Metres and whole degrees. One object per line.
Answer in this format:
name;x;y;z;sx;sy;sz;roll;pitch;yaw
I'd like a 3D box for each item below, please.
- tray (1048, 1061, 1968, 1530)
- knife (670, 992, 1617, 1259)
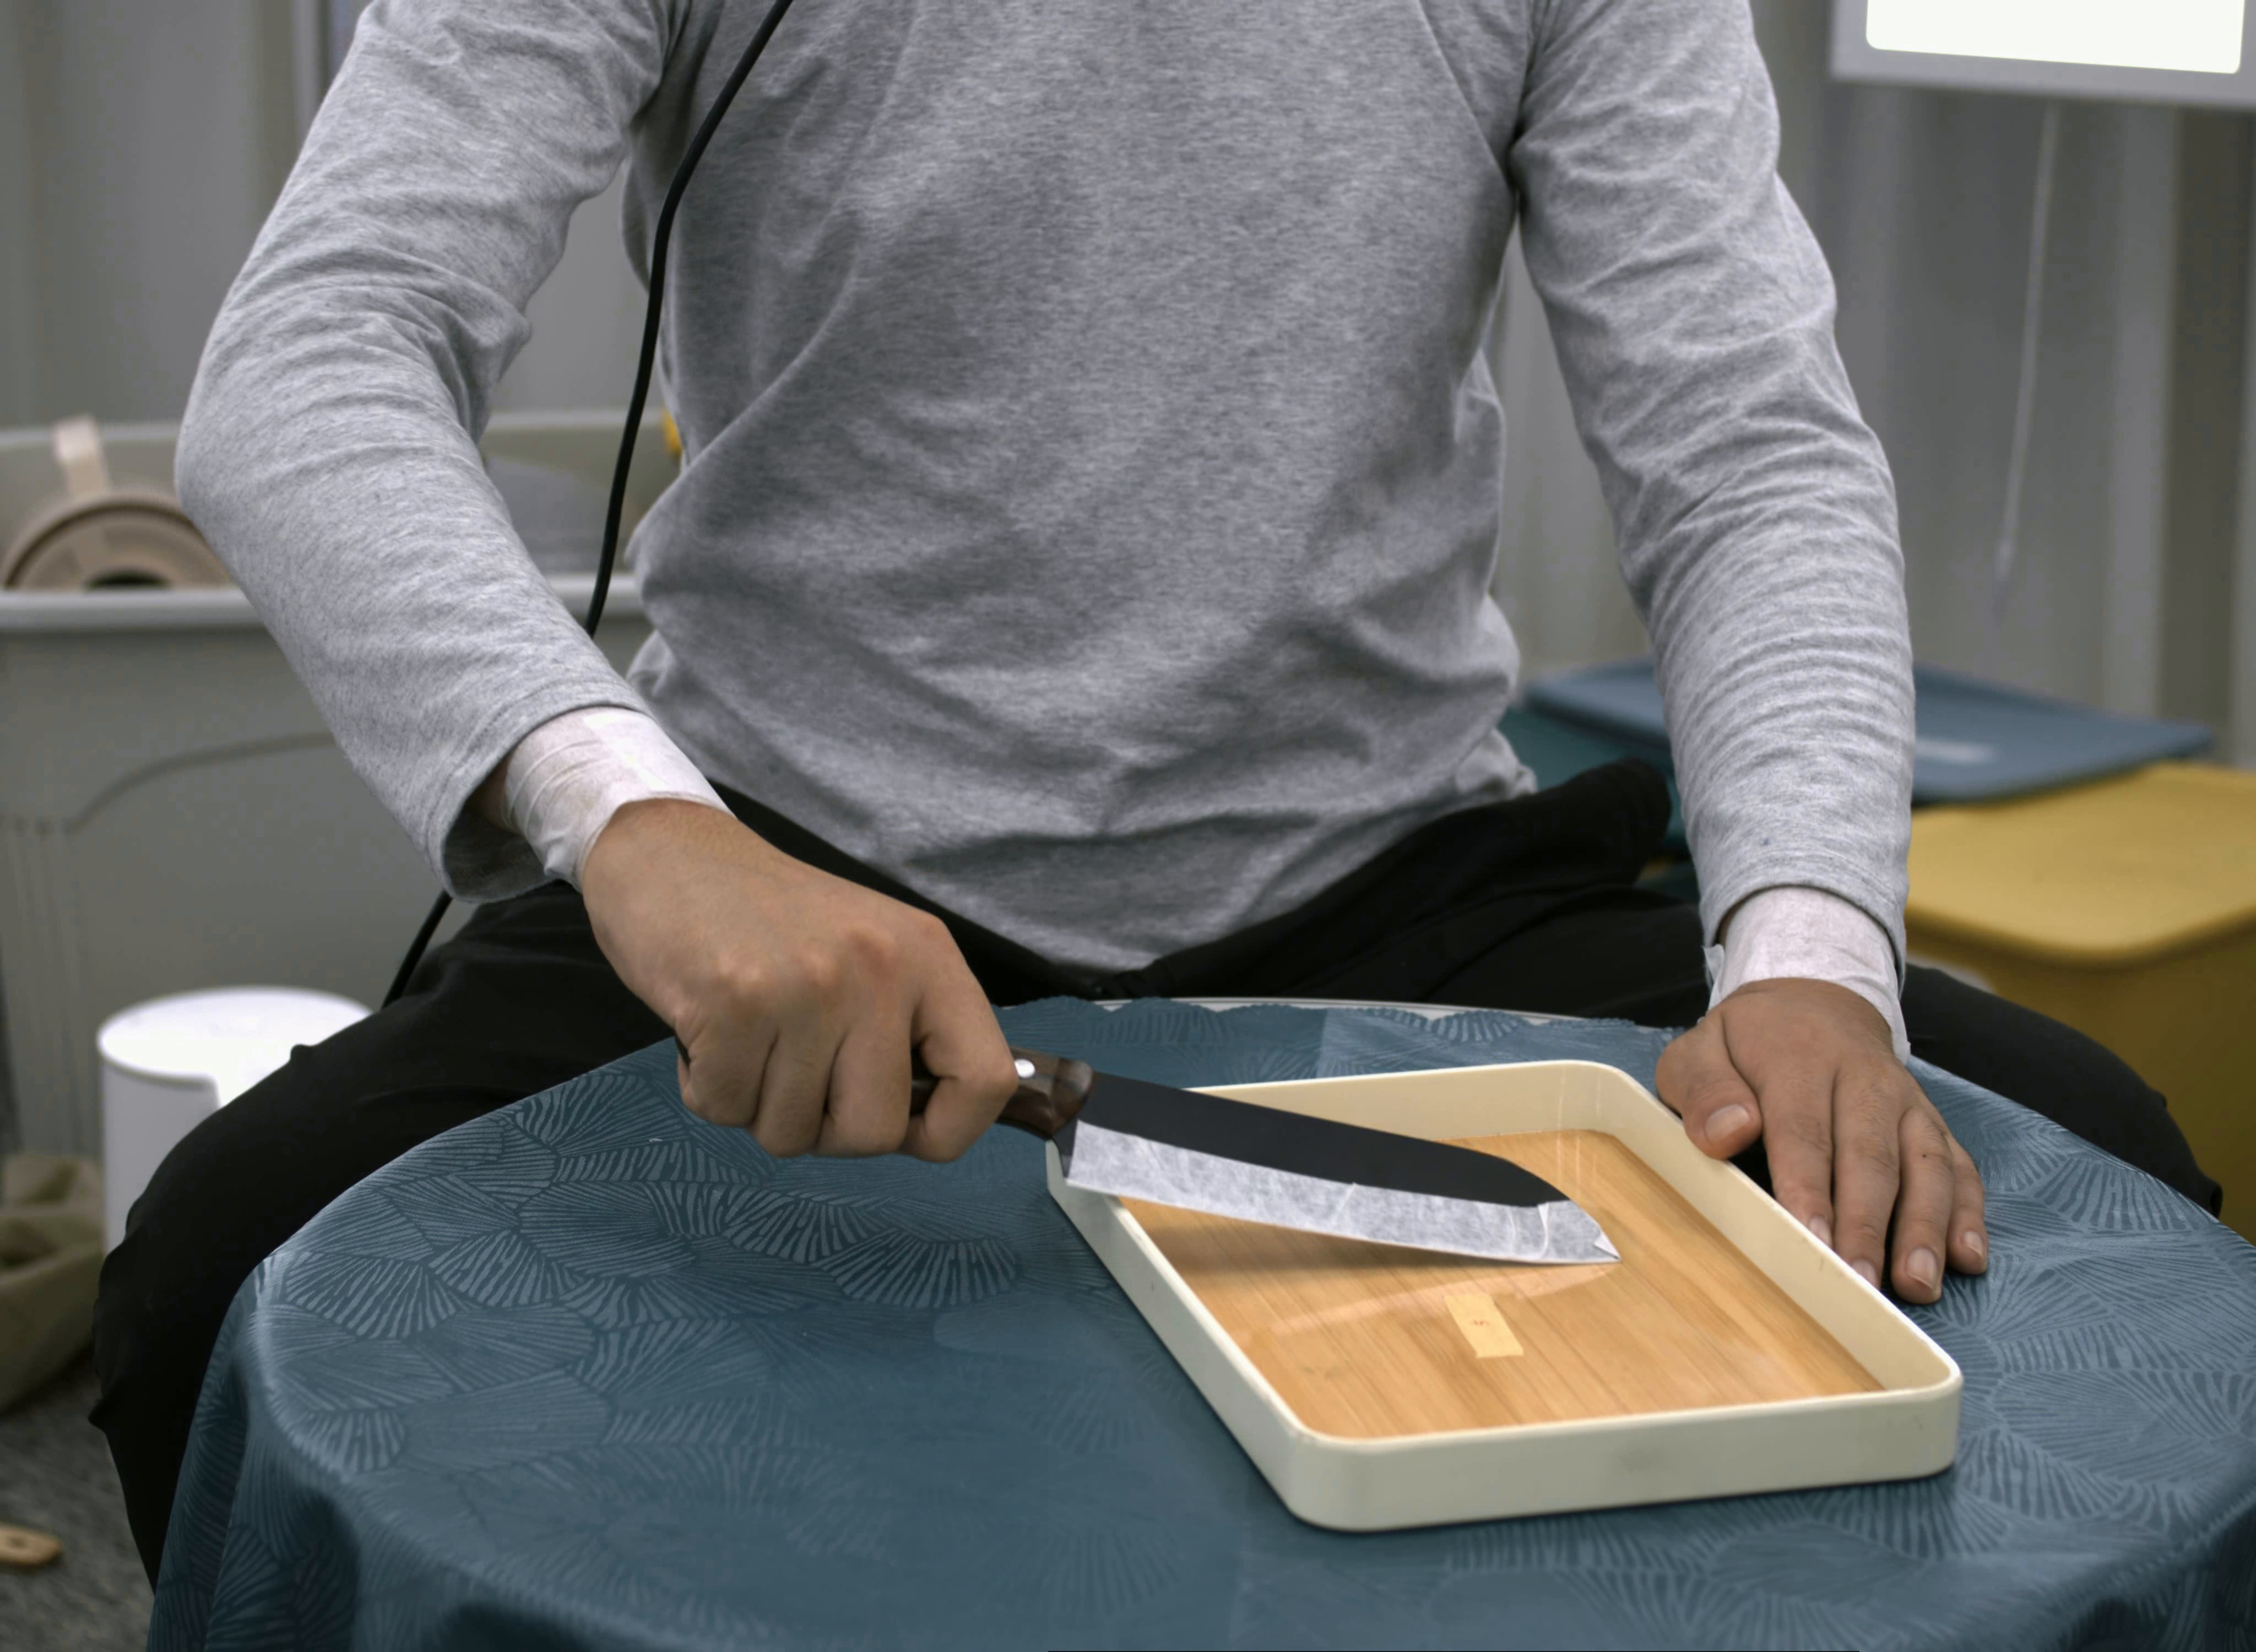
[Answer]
tray;0.100;0.129;1.518;0.192;0.027;0.297;-4;16;-14
knife;0.005;0.090;1.548;0.289;0.020;0.050;13;50;-4
